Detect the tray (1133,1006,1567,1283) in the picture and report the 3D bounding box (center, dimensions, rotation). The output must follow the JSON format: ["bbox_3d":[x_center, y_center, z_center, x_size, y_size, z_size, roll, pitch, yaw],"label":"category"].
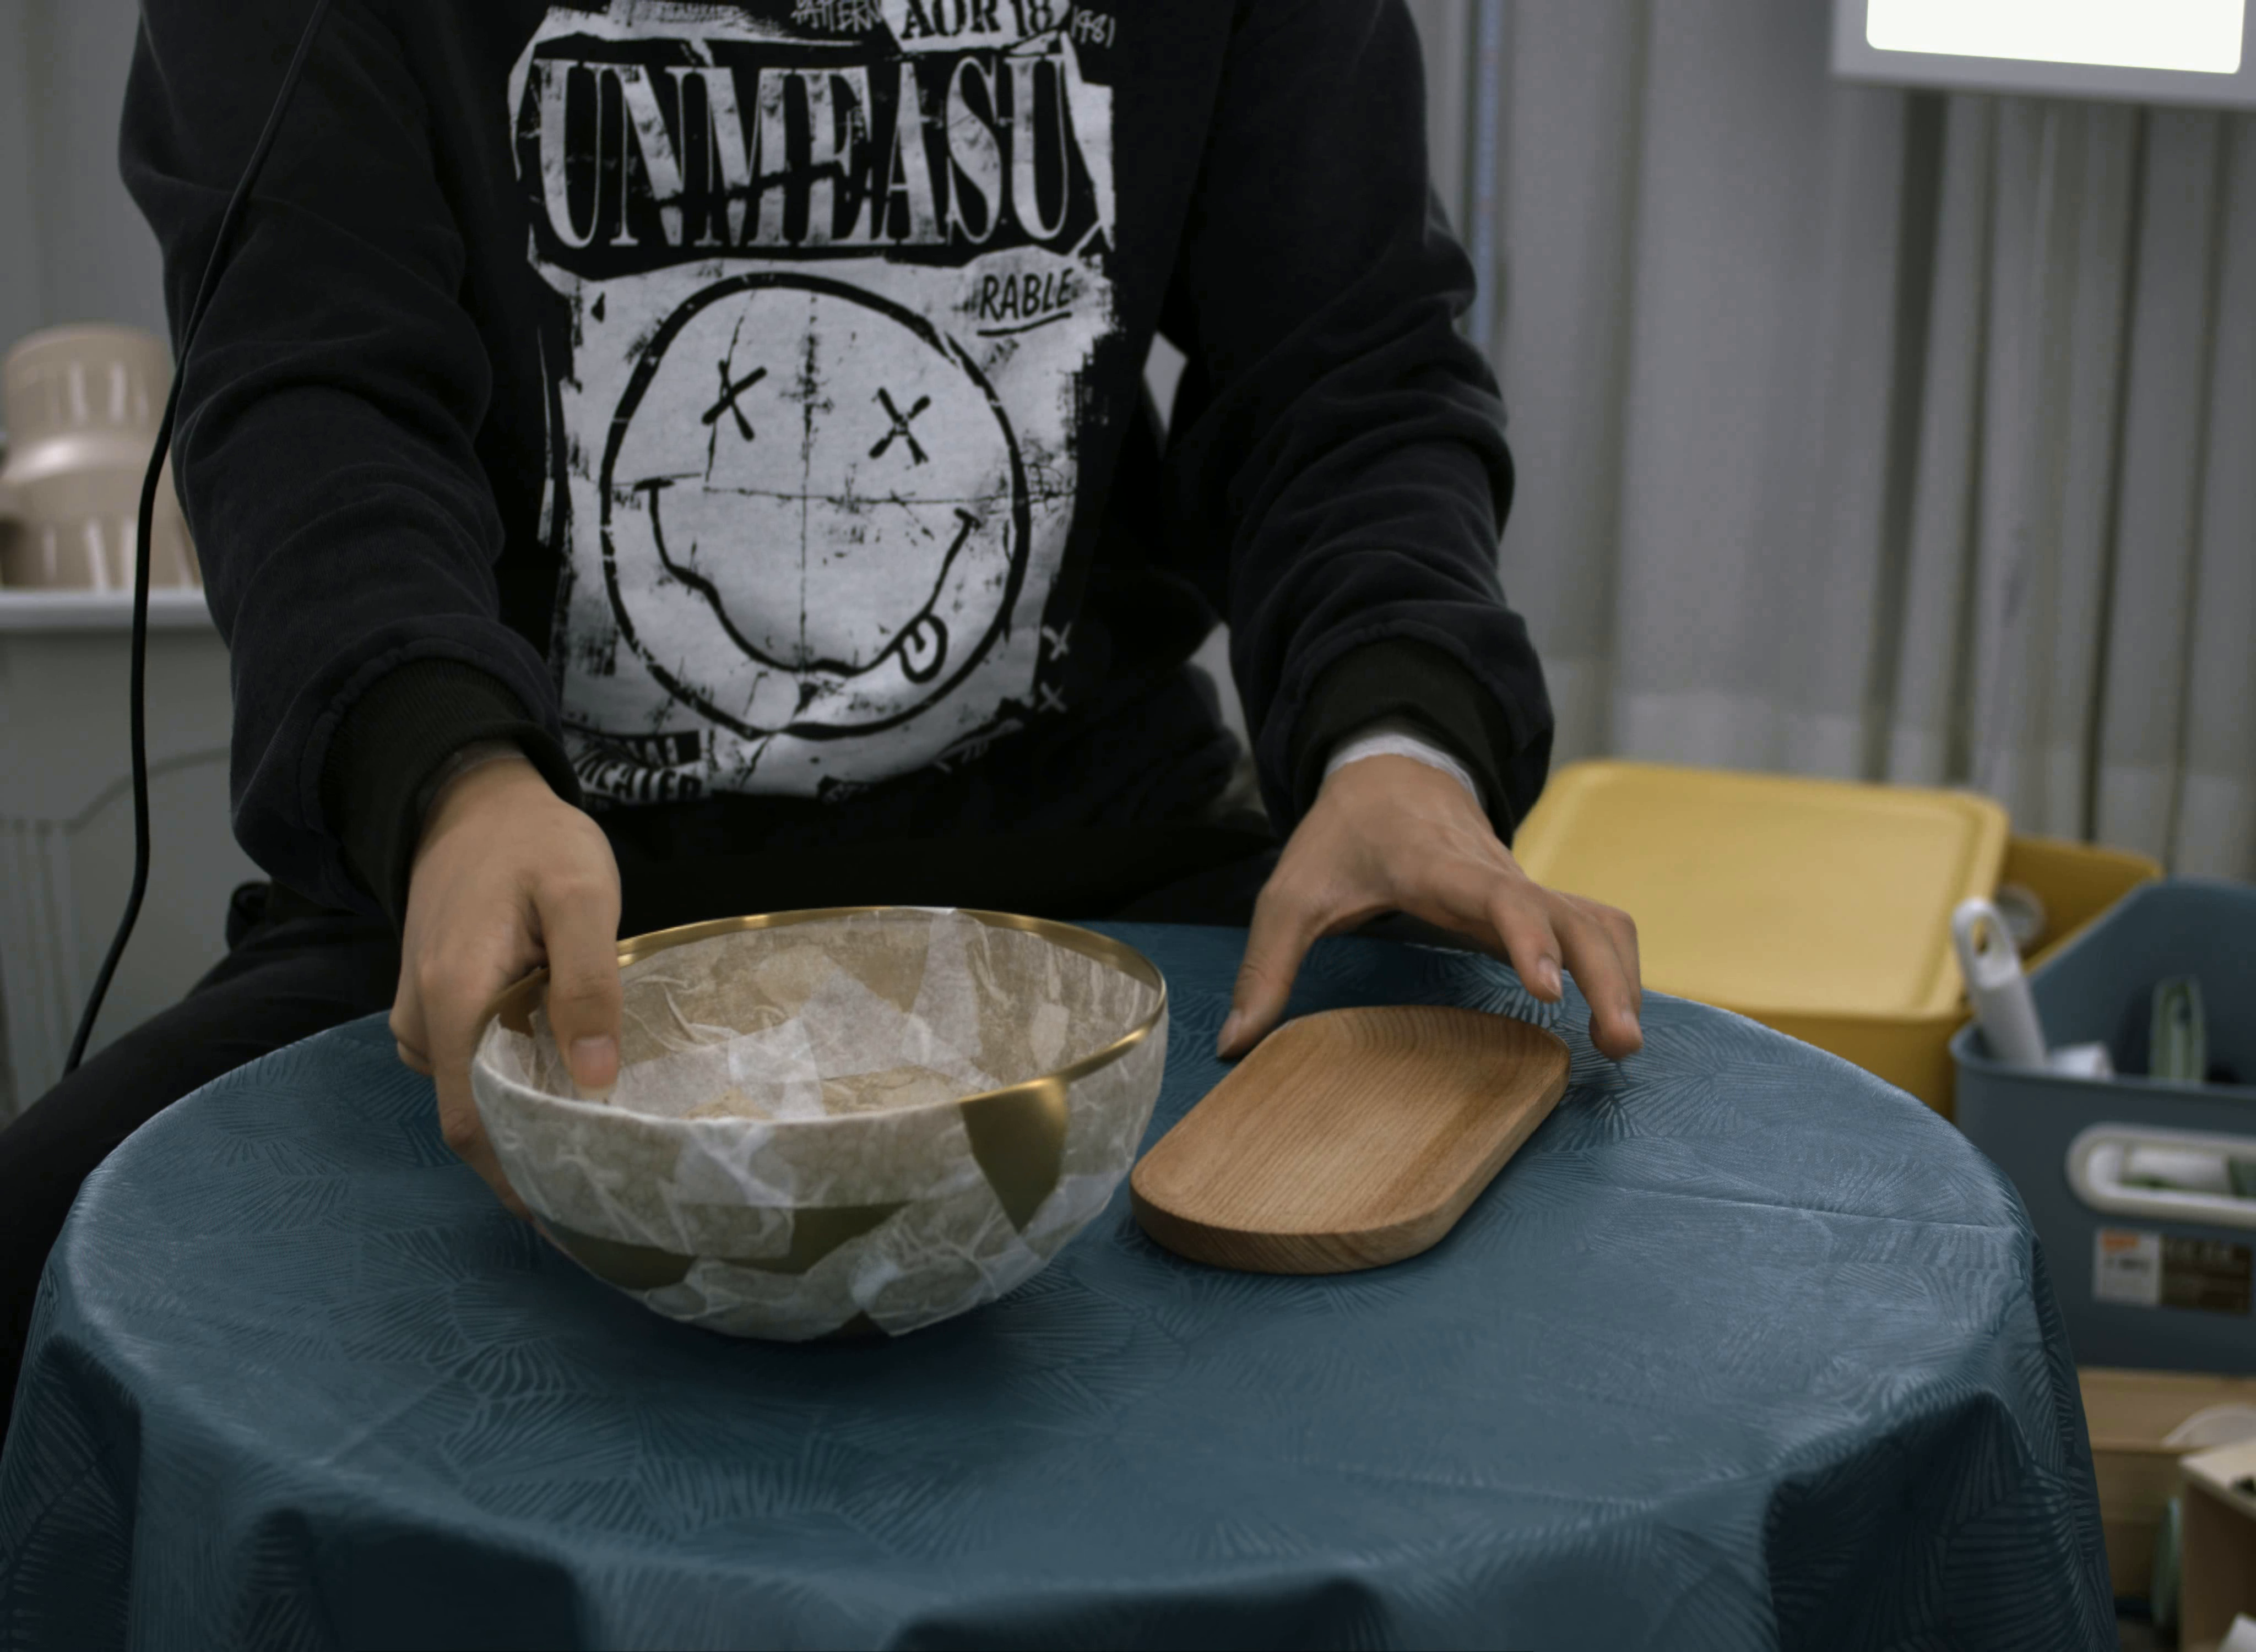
[{"bbox_3d":[0.072,0.098,1.654,0.101,0.020,0.231,3,18,17],"label":"tray"}]

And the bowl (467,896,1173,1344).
[{"bbox_3d":[-0.082,0.093,1.517,0.214,0.095,0.213,-4,16,2],"label":"bowl"}]
